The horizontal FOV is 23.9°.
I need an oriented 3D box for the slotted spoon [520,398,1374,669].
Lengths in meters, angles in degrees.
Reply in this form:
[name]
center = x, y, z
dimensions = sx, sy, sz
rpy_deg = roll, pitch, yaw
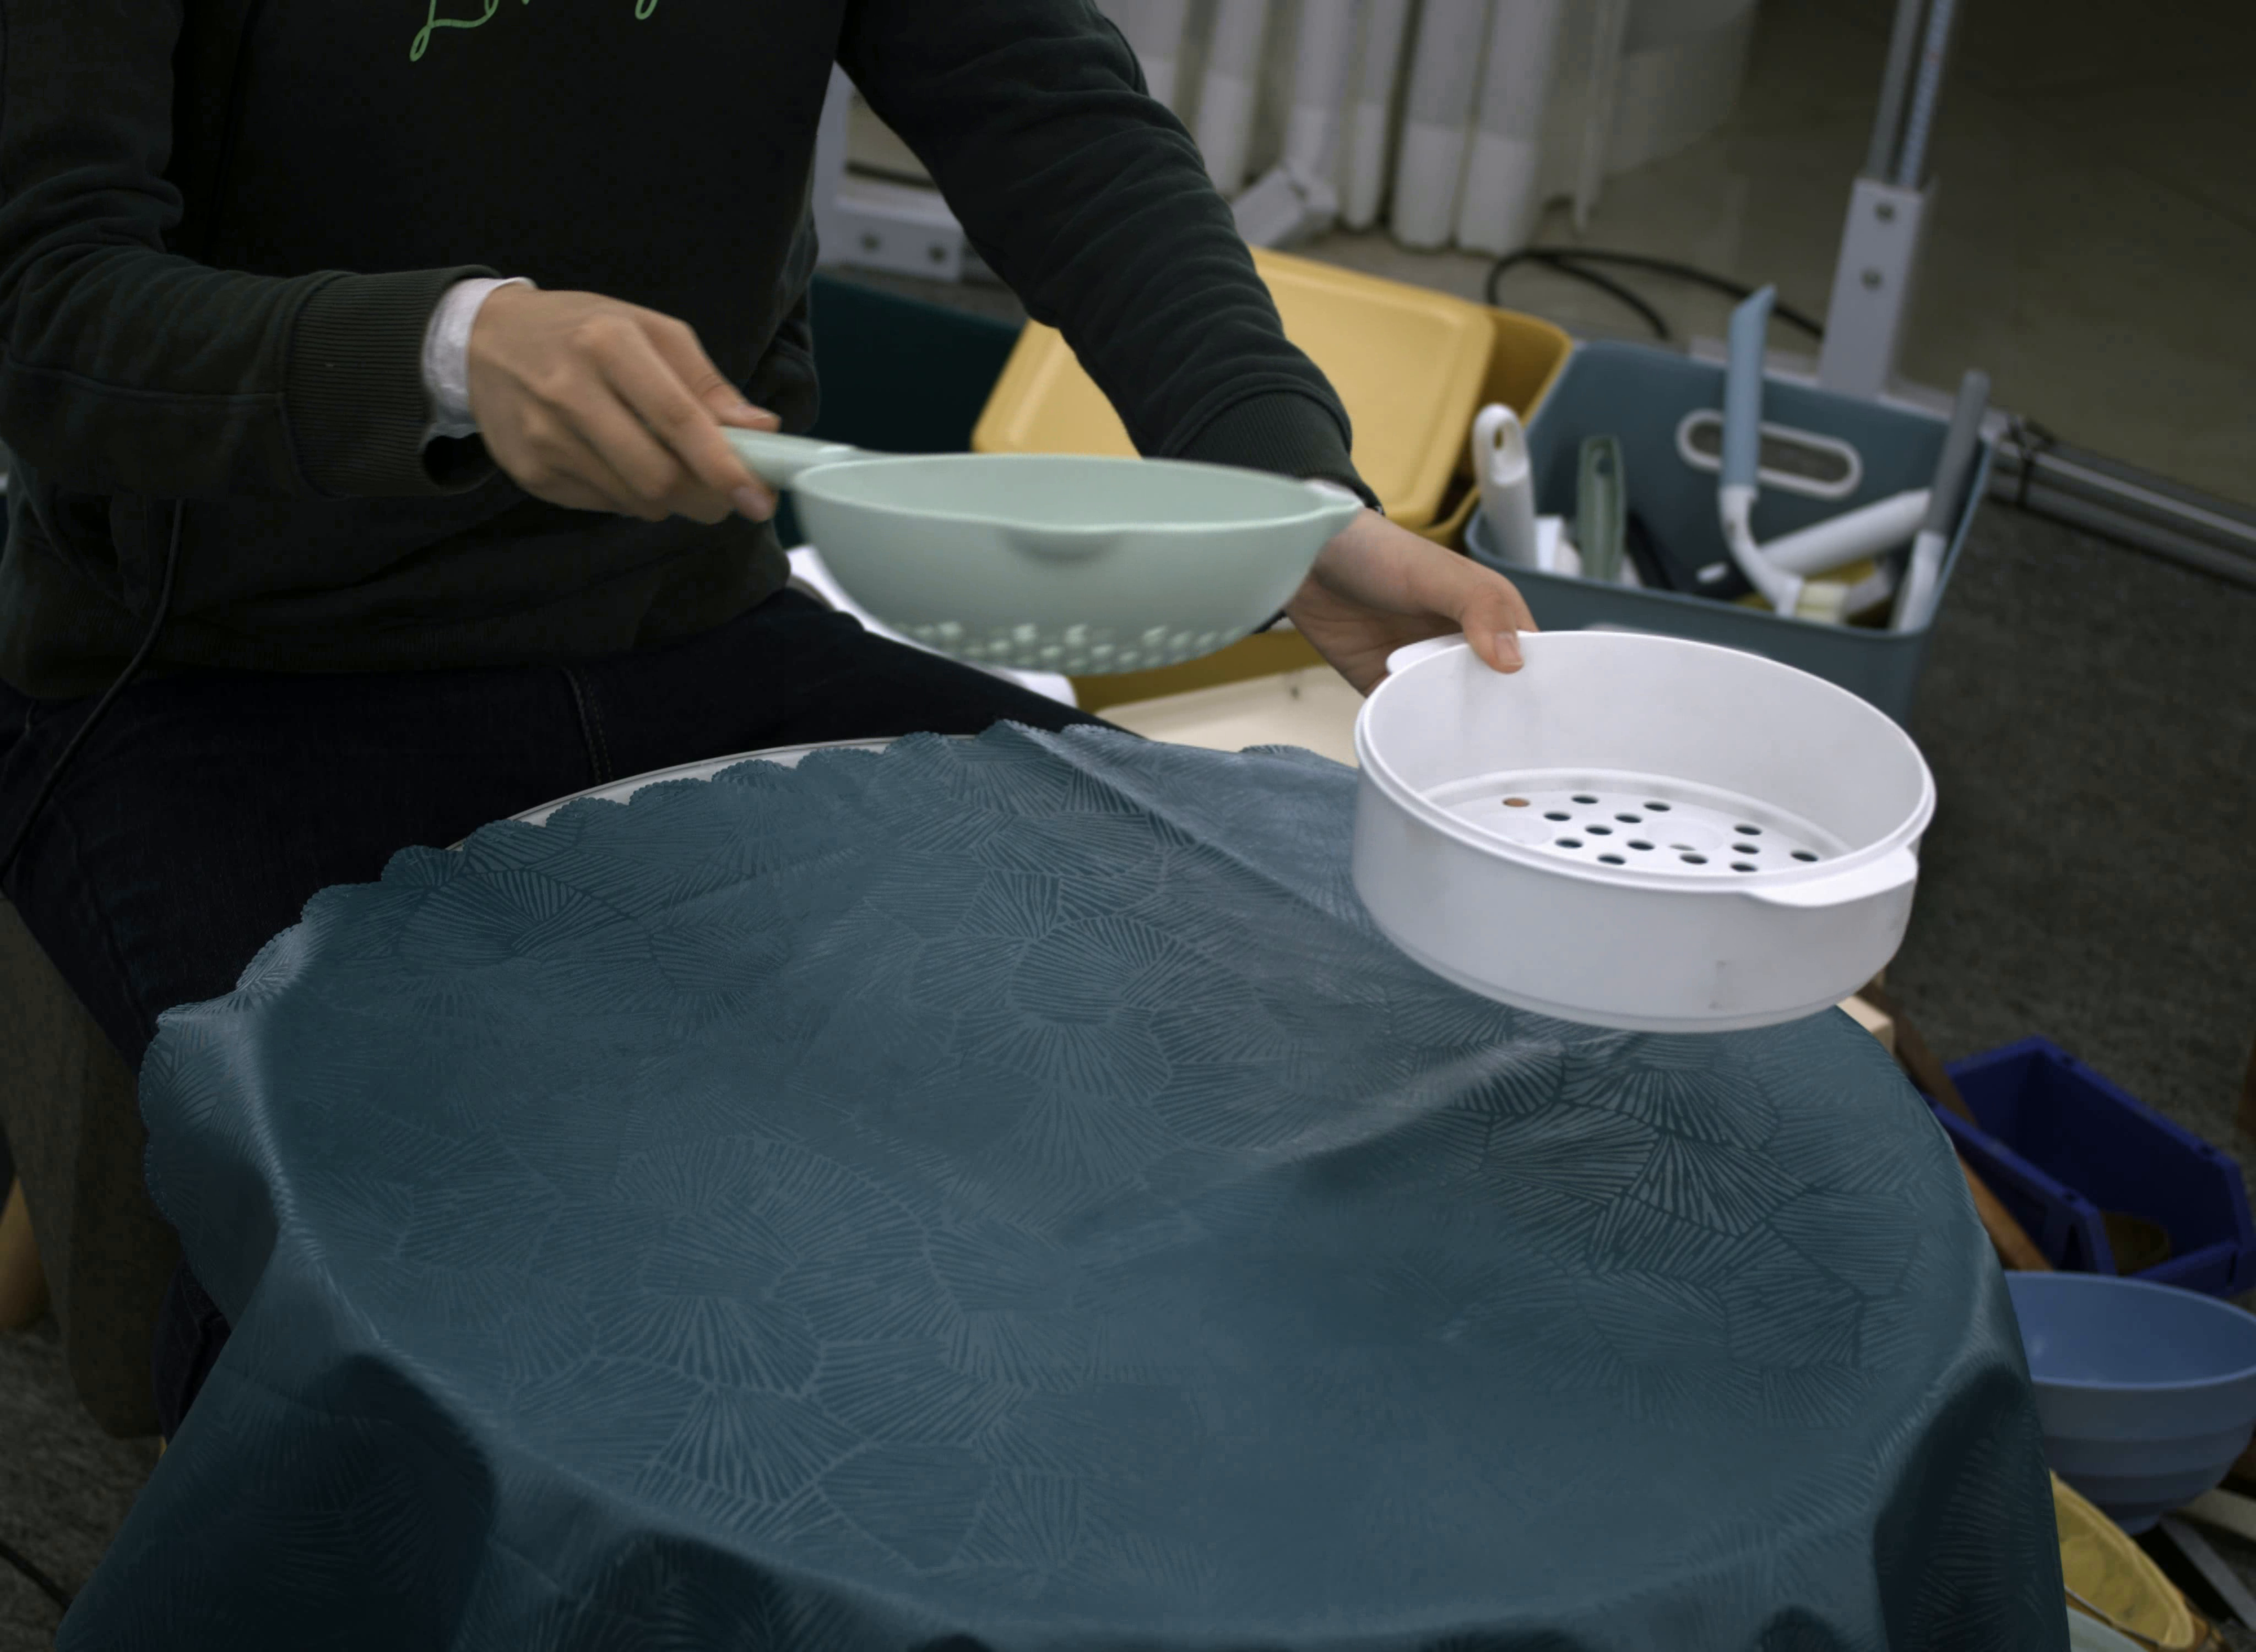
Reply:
[slotted spoon]
center = -0.084, -0.111, 1.731
dimensions = 0.168, 0.075, 0.361
rpy_deg = -7, 21, -43

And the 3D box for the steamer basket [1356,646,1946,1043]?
[steamer basket]
center = 0.177, 0.007, 1.832
dimensions = 0.200, 0.069, 0.232
rpy_deg = -13, 30, -34
